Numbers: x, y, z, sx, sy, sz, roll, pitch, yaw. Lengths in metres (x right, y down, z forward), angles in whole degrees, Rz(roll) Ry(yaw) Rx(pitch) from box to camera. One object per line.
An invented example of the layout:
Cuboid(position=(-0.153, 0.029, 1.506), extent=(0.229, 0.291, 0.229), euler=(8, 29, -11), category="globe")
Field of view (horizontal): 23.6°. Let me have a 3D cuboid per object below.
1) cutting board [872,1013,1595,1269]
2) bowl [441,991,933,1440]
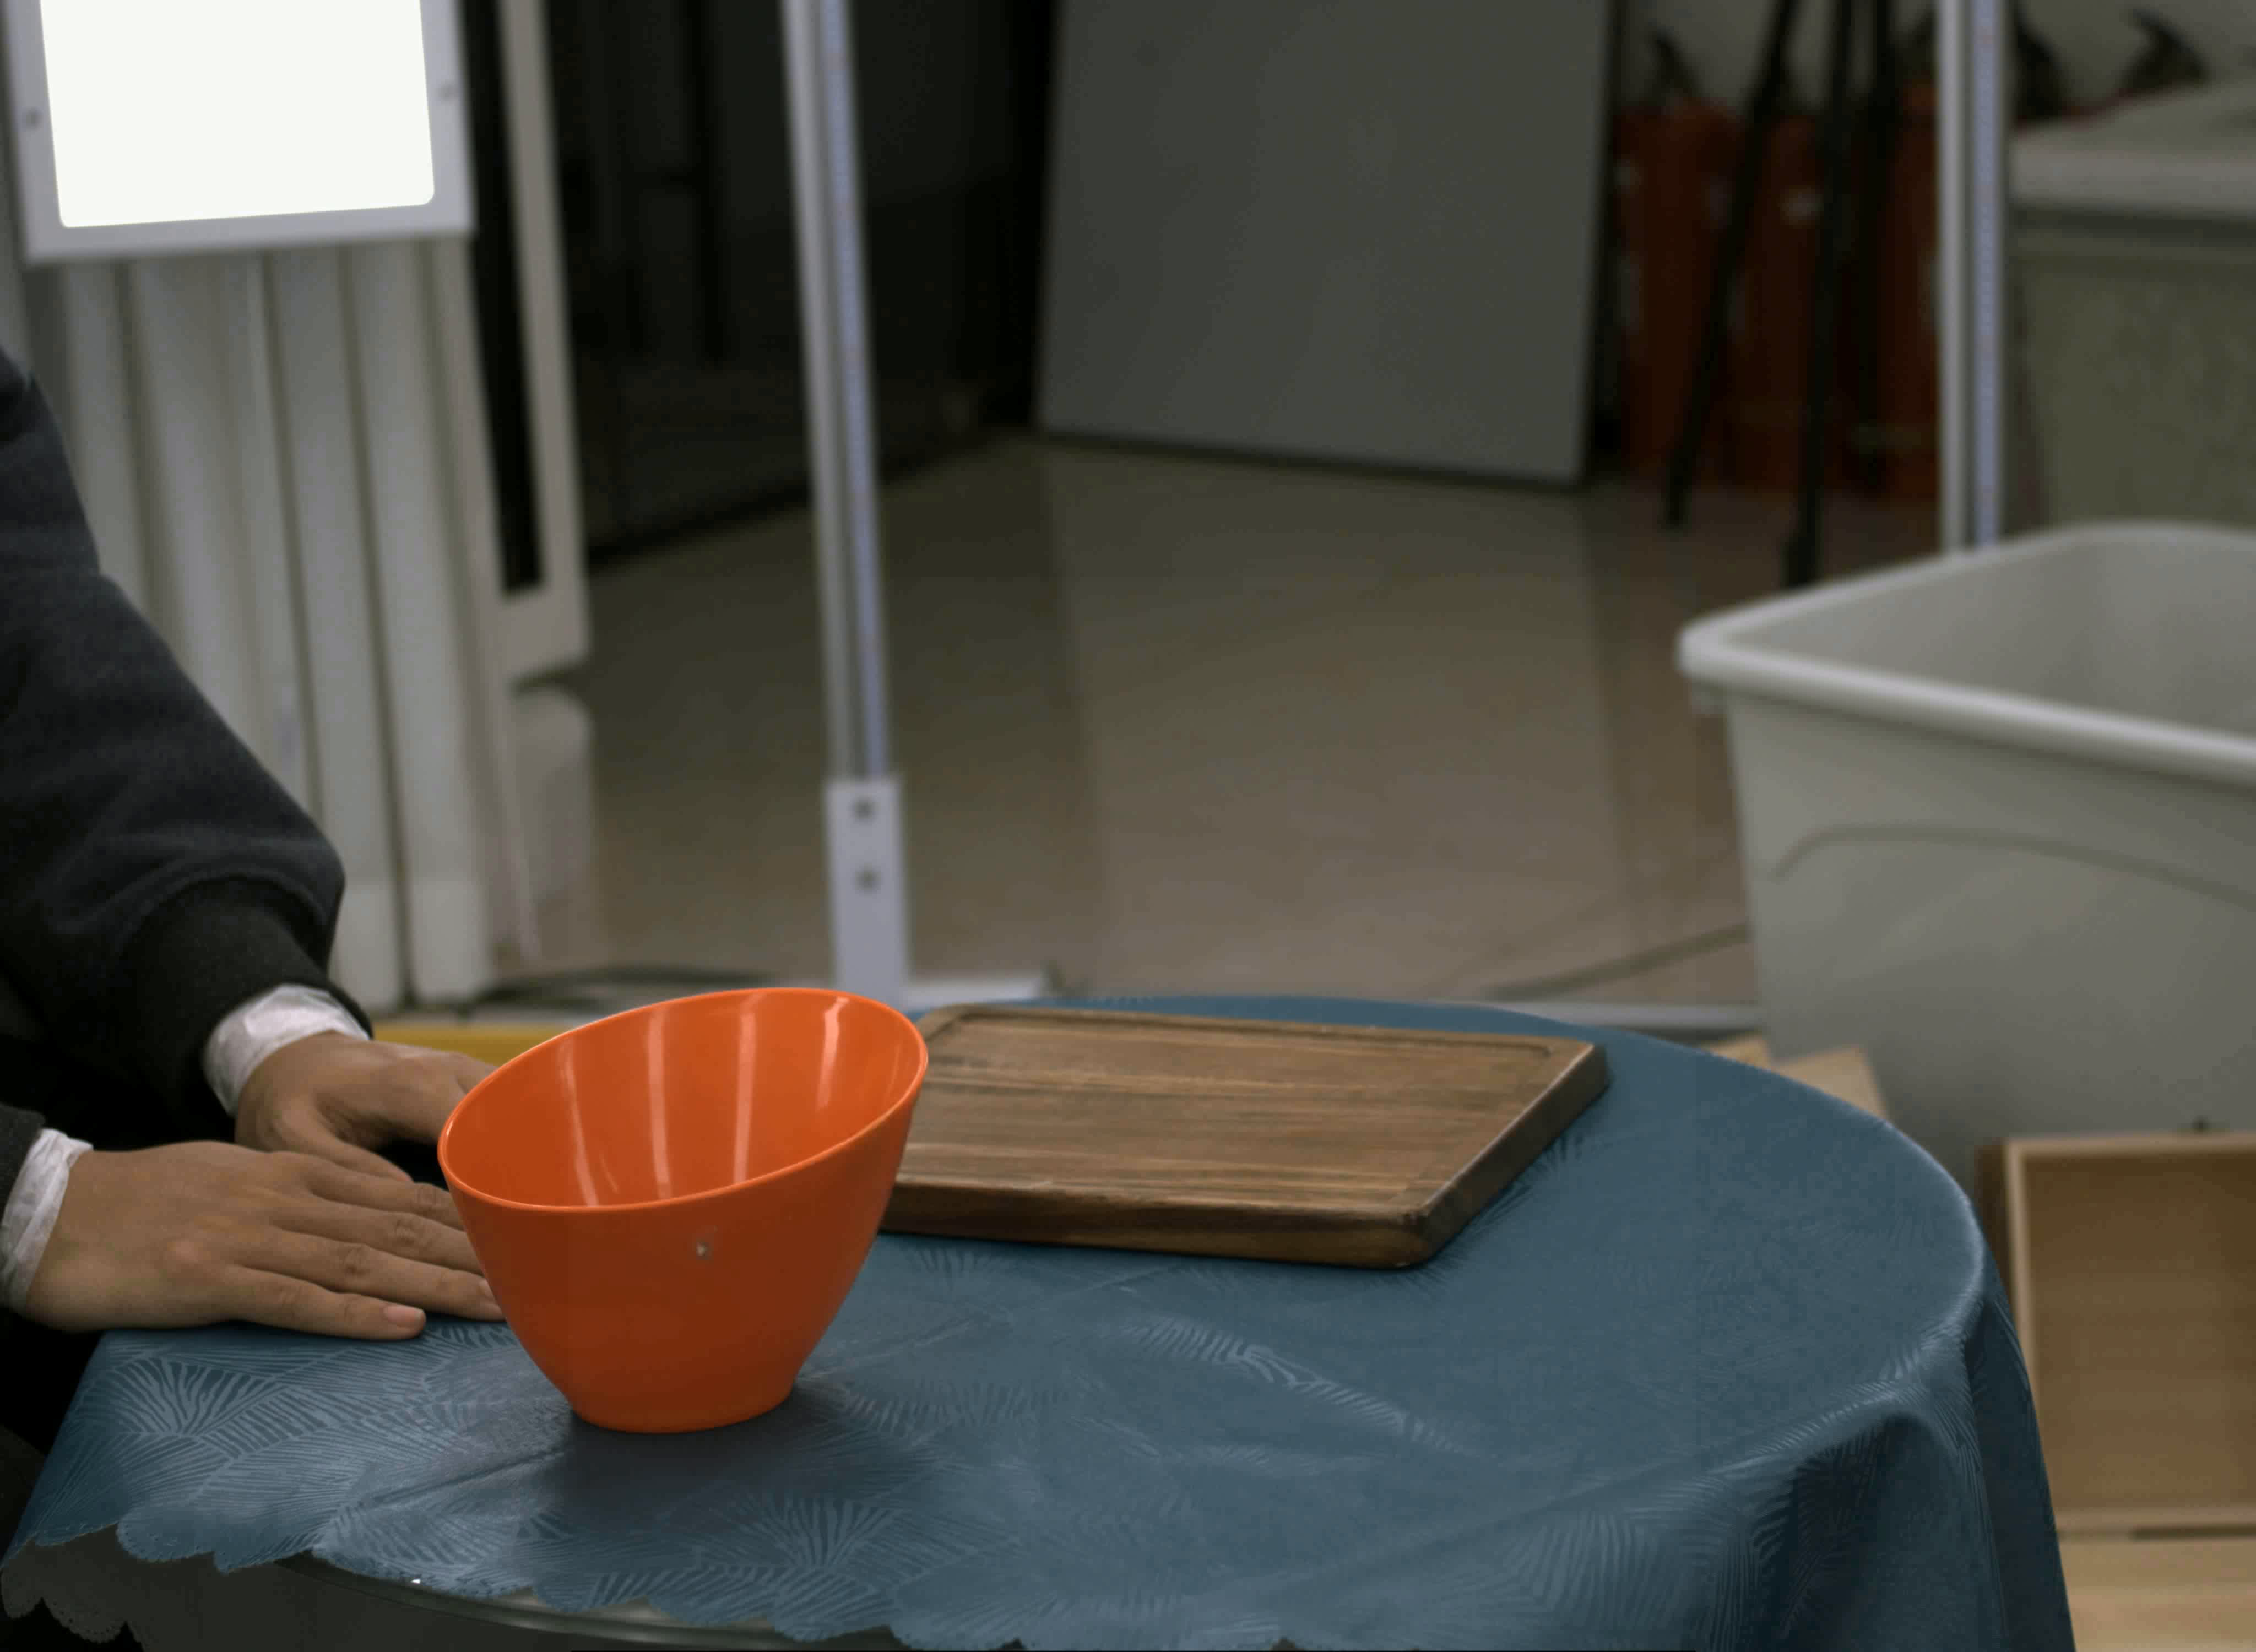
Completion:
Cuboid(position=(-0.033, 0.101, 1.822), extent=(0.352, 0.023, 0.199), euler=(2, 15, 24), category="cutting board")
Cuboid(position=(-0.127, 0.119, 1.601), extent=(0.146, 0.106, 0.148), euler=(-3, 14, 0), category="bowl")
